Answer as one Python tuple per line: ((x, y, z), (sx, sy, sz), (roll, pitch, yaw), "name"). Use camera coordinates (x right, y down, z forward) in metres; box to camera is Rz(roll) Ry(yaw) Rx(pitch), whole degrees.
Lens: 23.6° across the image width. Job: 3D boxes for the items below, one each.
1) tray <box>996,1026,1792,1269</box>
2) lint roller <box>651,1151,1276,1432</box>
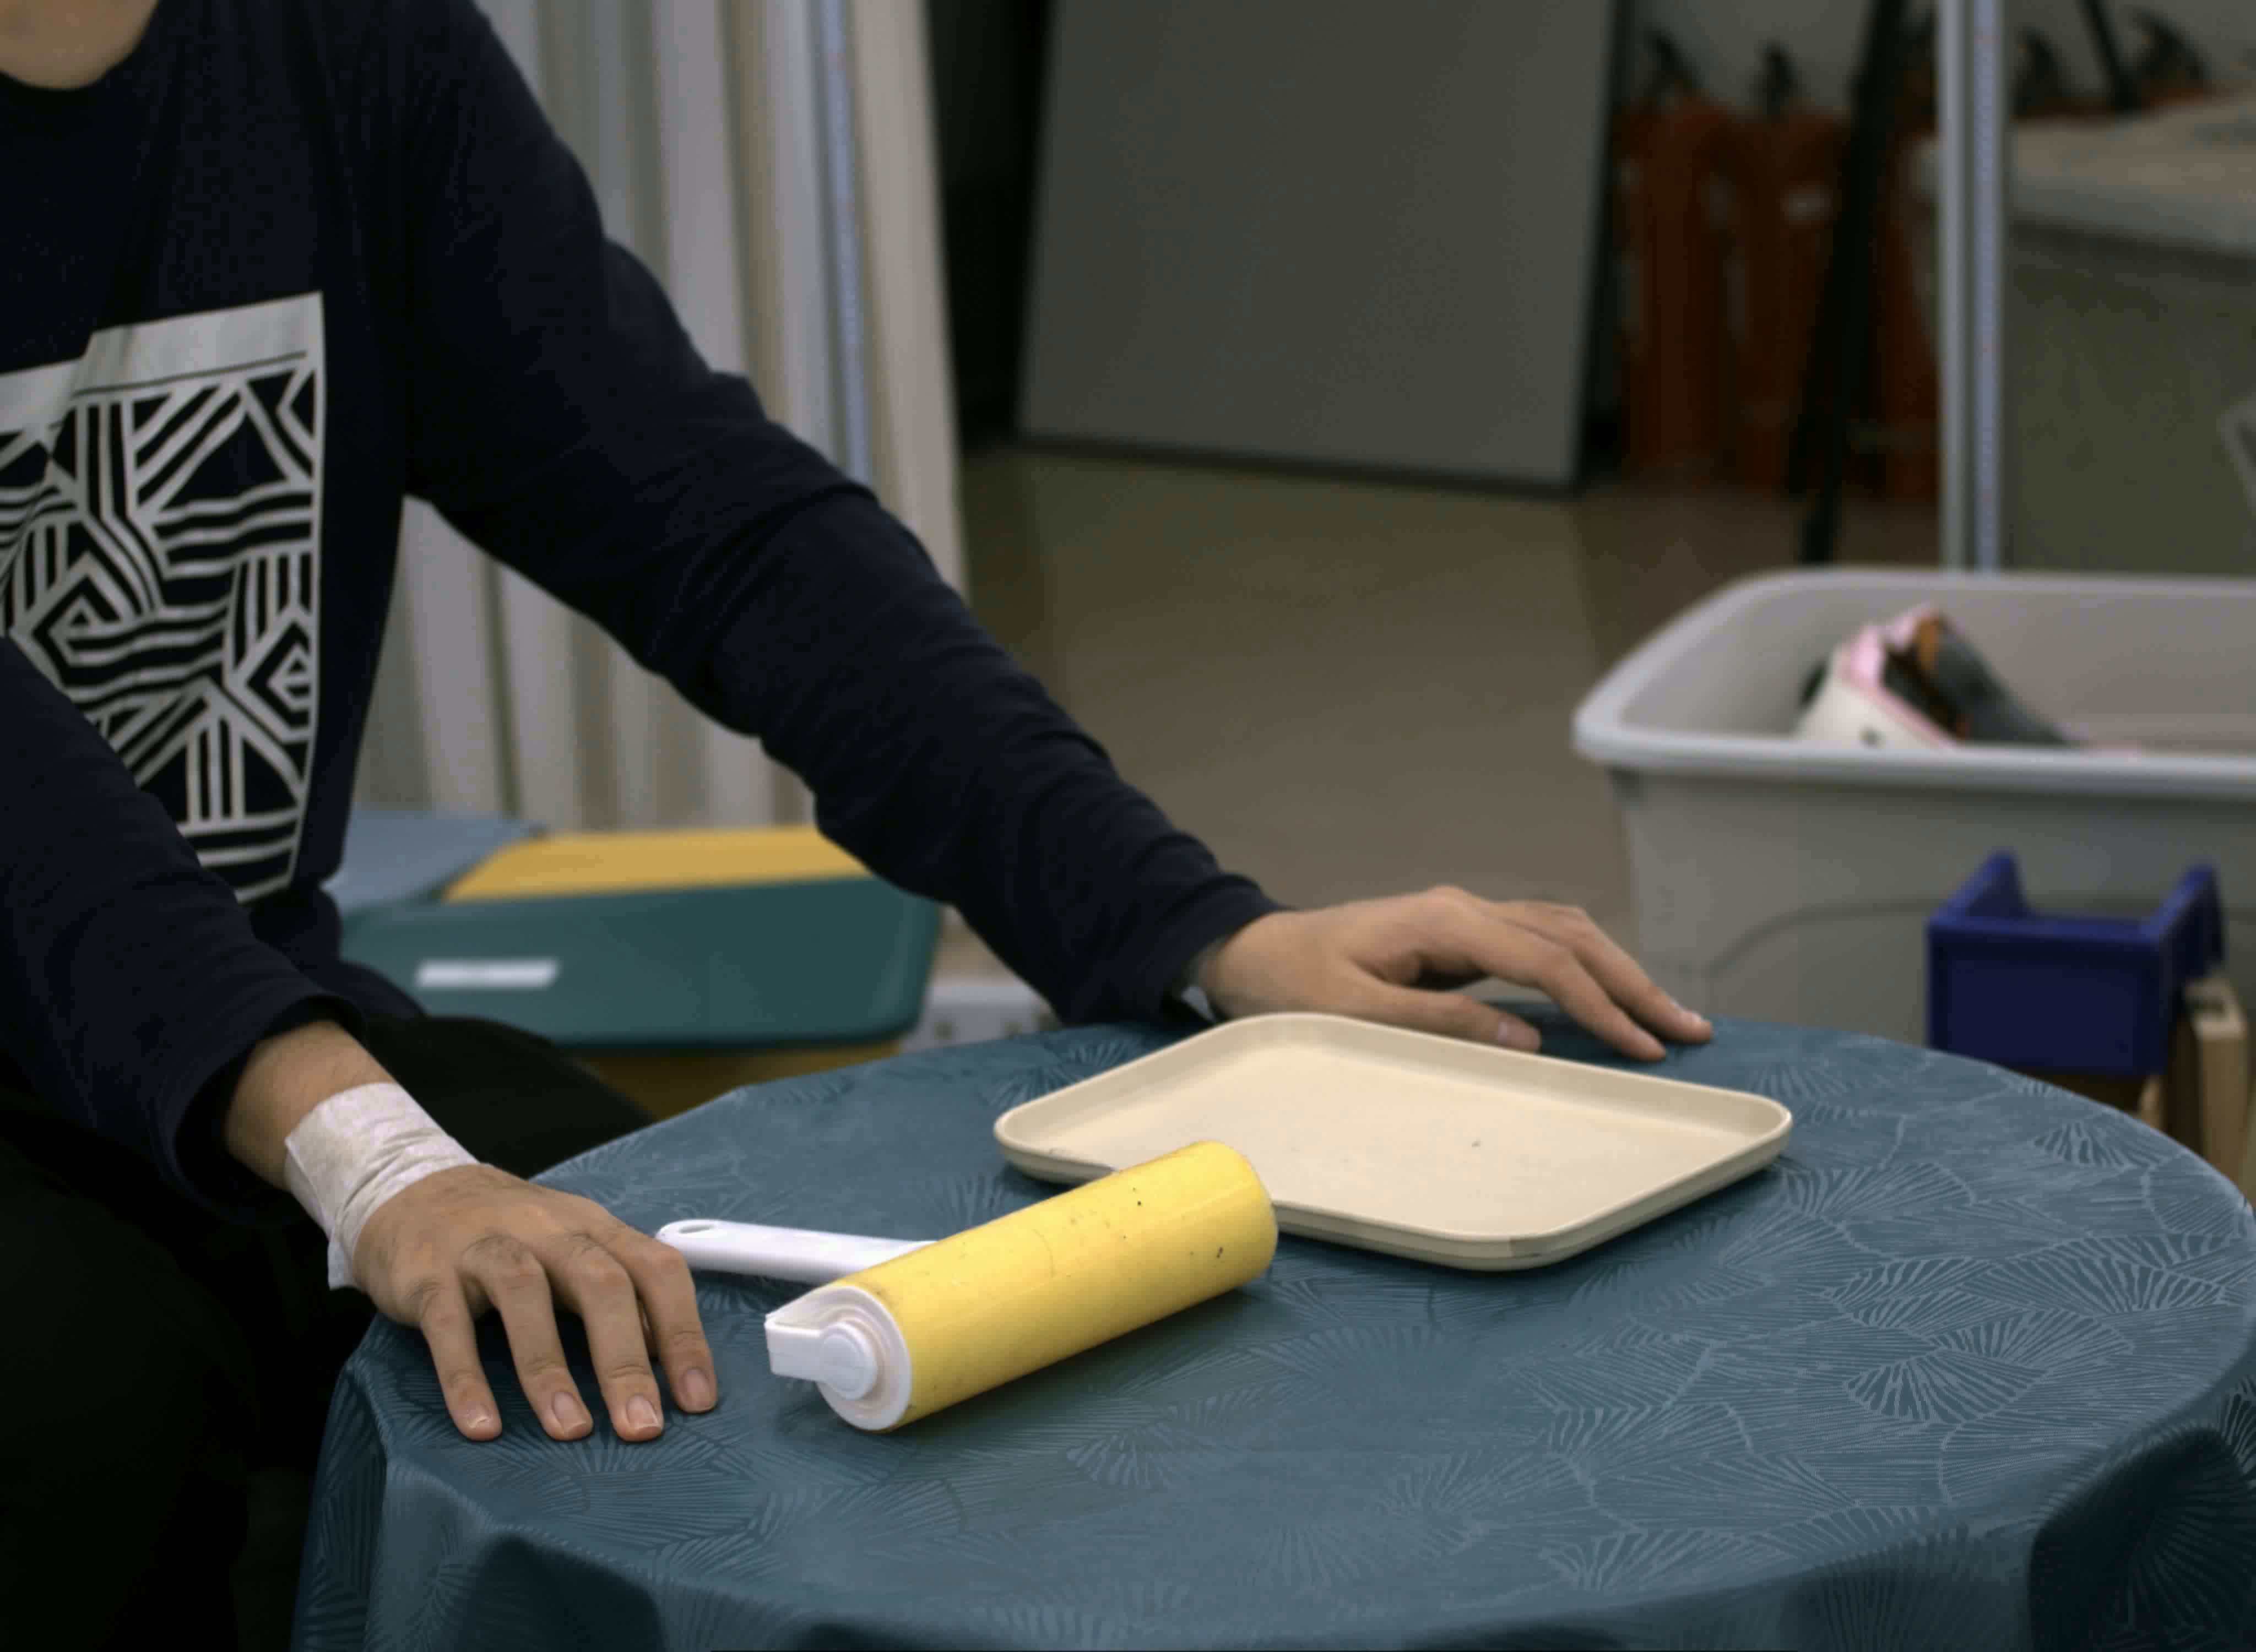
((0.087, 0.105, 1.778), (0.242, 0.017, 0.168), (8, 17, 42), "tray")
((-0.077, 0.129, 1.663), (0.193, 0.052, 0.171), (12, 19, 41), "lint roller")
